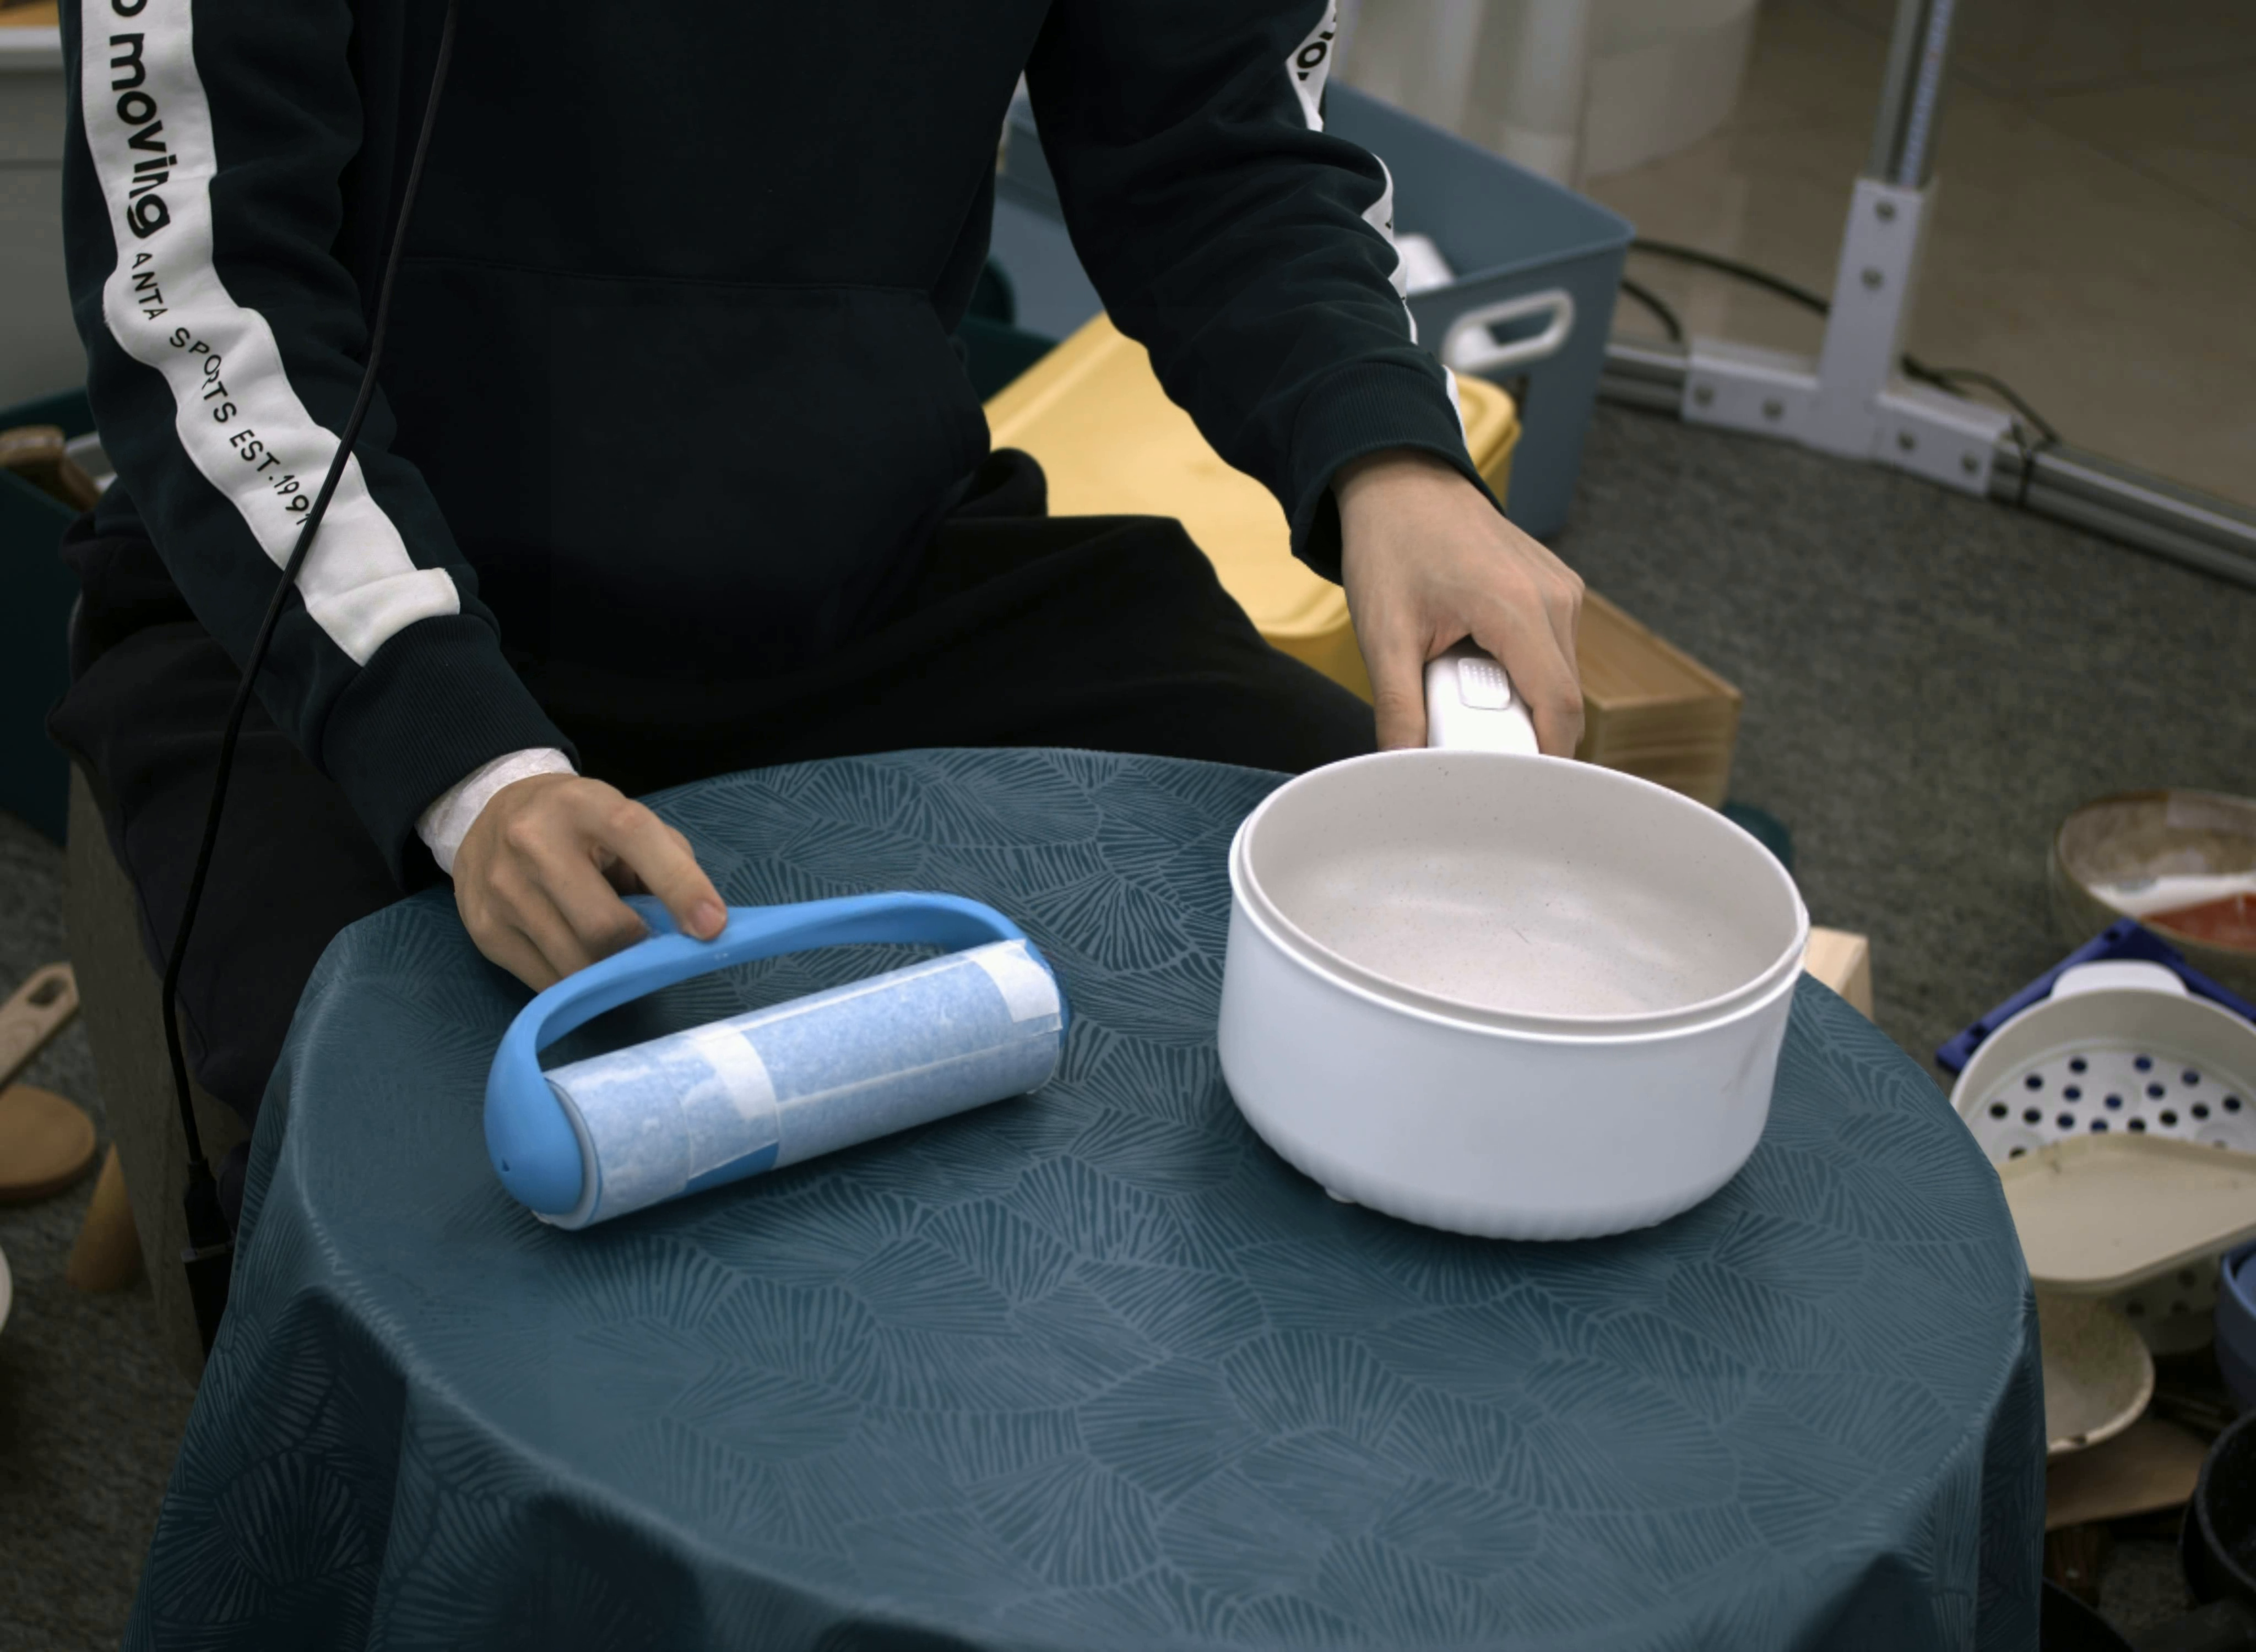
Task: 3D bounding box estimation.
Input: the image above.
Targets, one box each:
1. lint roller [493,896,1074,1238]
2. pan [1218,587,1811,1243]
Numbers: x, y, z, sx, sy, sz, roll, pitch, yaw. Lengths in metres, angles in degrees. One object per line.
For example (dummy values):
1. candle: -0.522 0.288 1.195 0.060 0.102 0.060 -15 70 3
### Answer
1. lint roller: -0.150 0.062 1.824 0.228 0.067 0.182 -19 37 -38
2. pan: 0.128 0.029 1.907 0.200 0.102 0.357 4 26 -3
